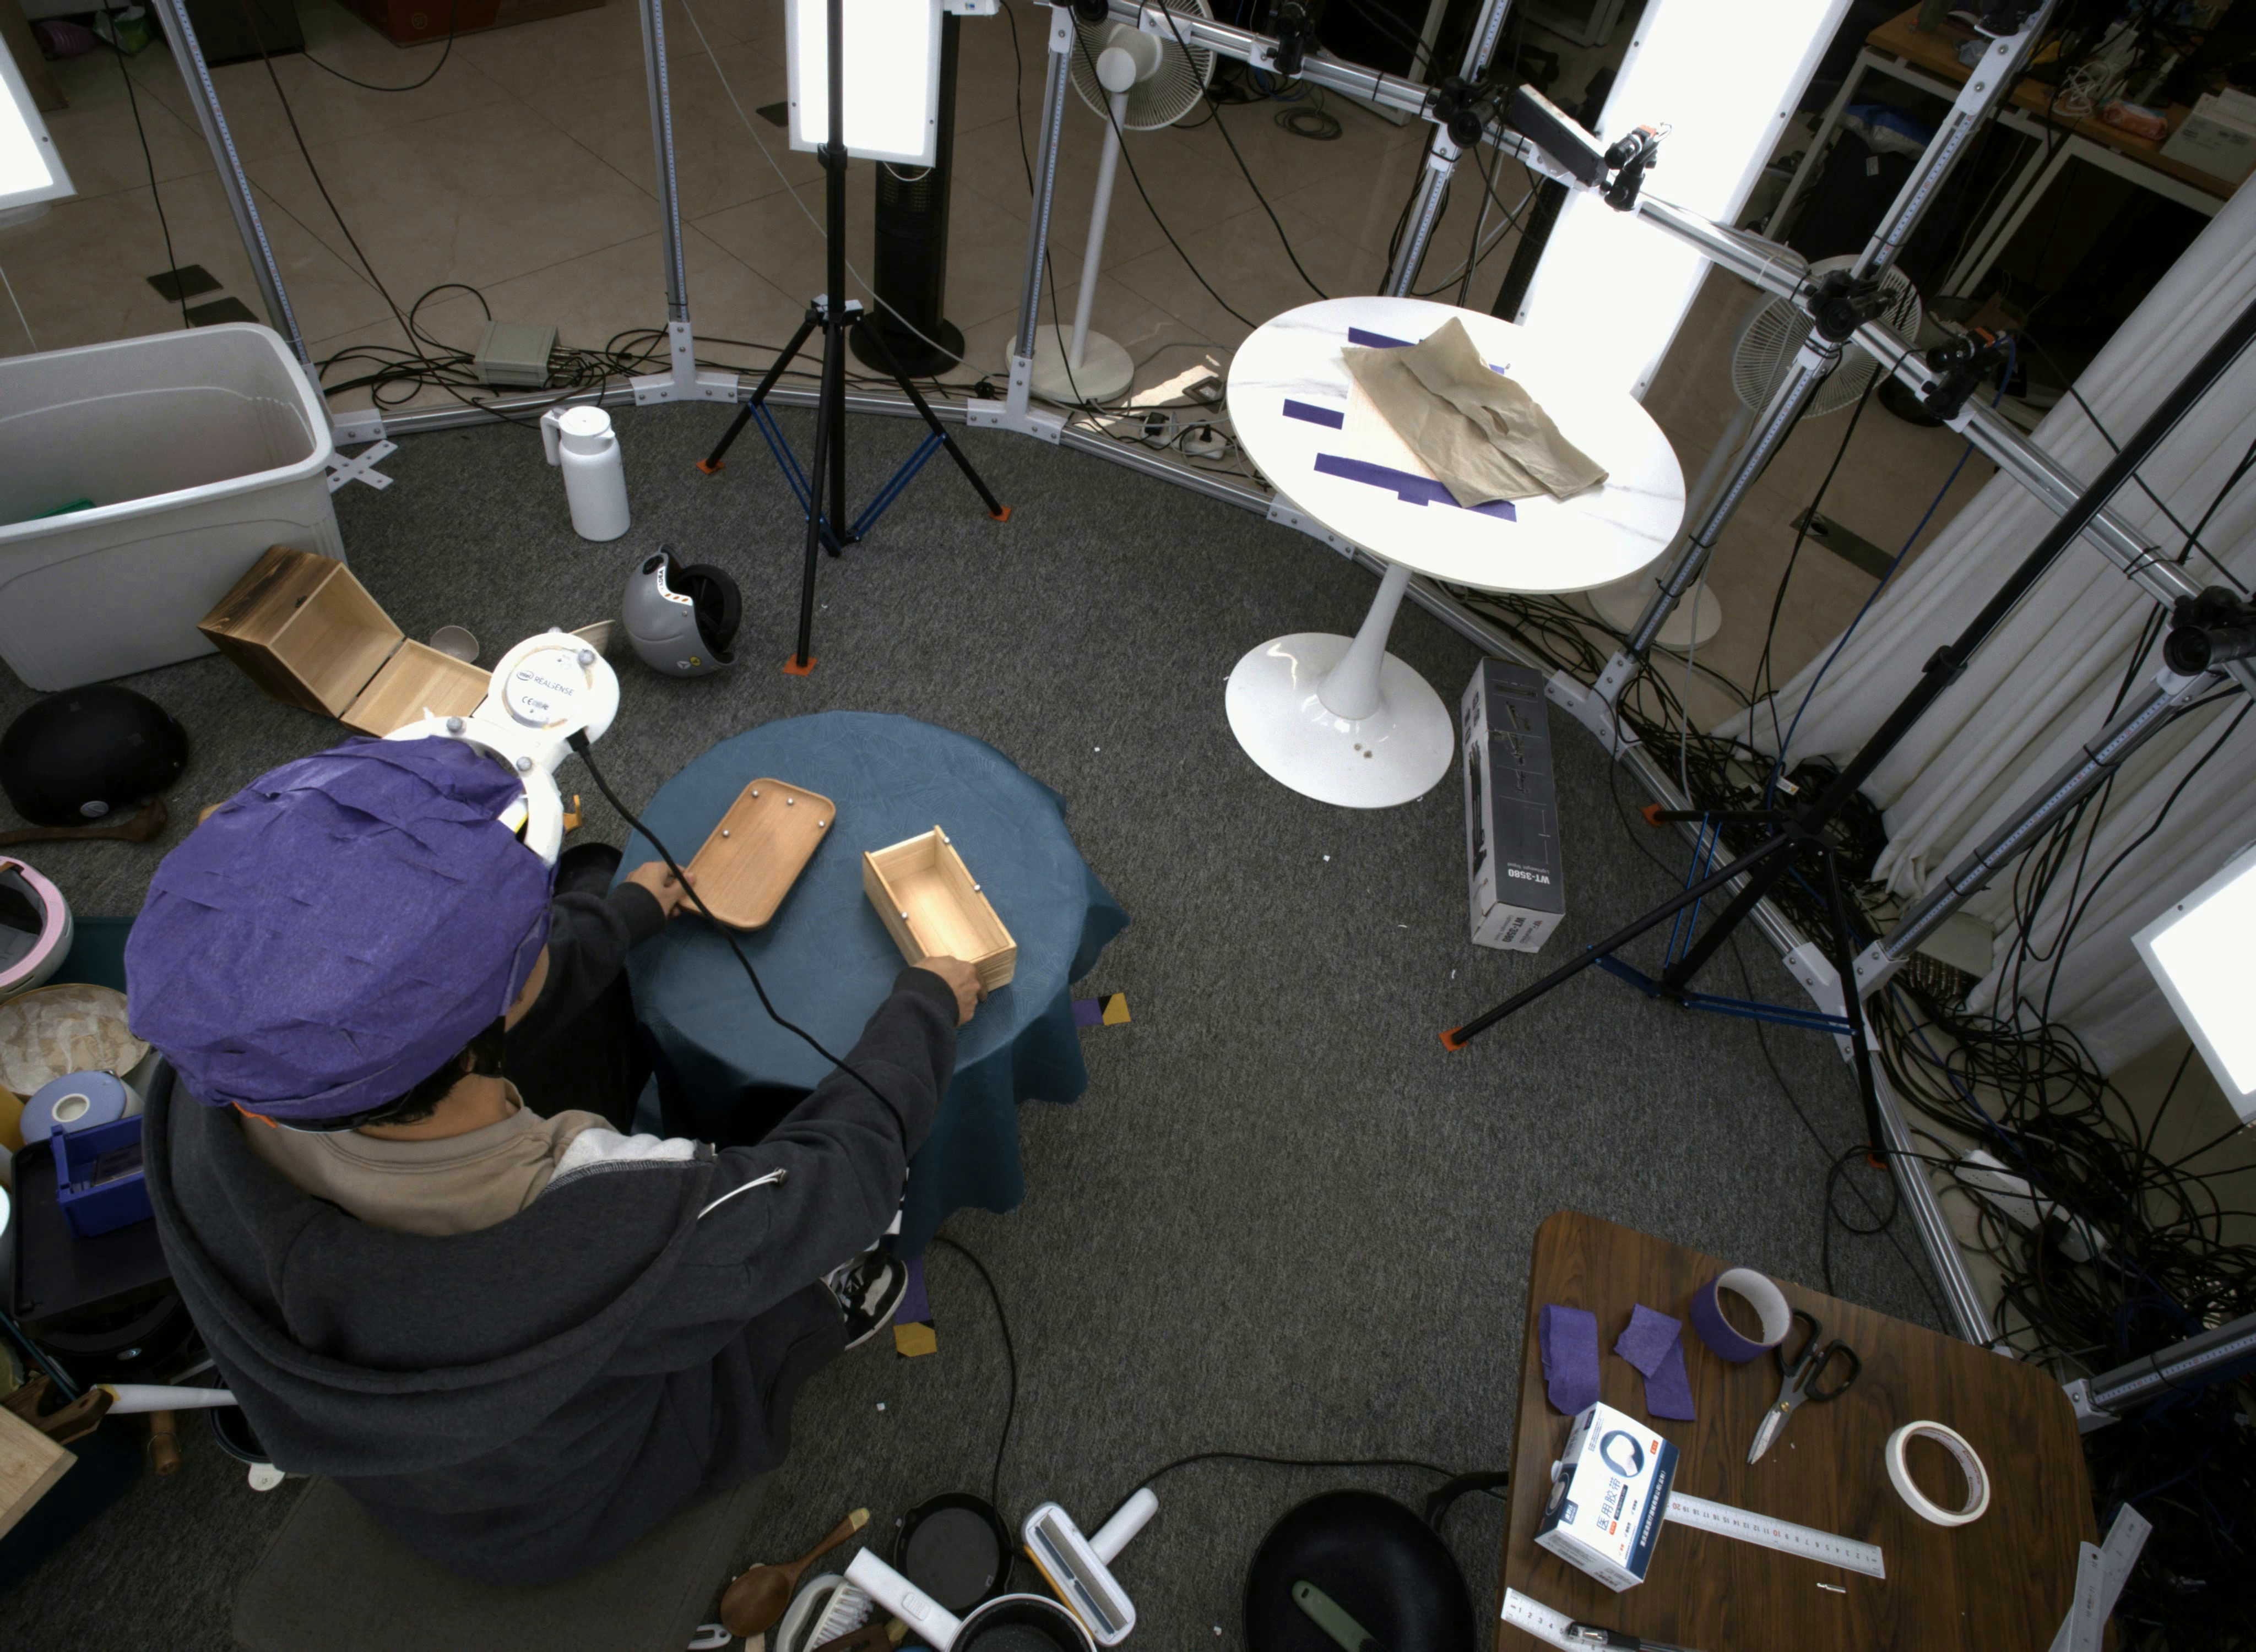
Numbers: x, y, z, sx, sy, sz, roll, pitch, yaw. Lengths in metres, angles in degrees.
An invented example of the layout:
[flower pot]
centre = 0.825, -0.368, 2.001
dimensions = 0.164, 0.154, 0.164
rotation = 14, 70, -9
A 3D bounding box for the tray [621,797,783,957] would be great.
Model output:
[tray]
centre = -0.534, 0.059, 1.627
dimensions = 0.129, 0.023, 0.247
rotation = 16, 45, 1

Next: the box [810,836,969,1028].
[box]
centre = -0.296, 0.127, 1.610
dimensions = 0.108, 0.082, 0.206
rotation = -26, 61, -28
